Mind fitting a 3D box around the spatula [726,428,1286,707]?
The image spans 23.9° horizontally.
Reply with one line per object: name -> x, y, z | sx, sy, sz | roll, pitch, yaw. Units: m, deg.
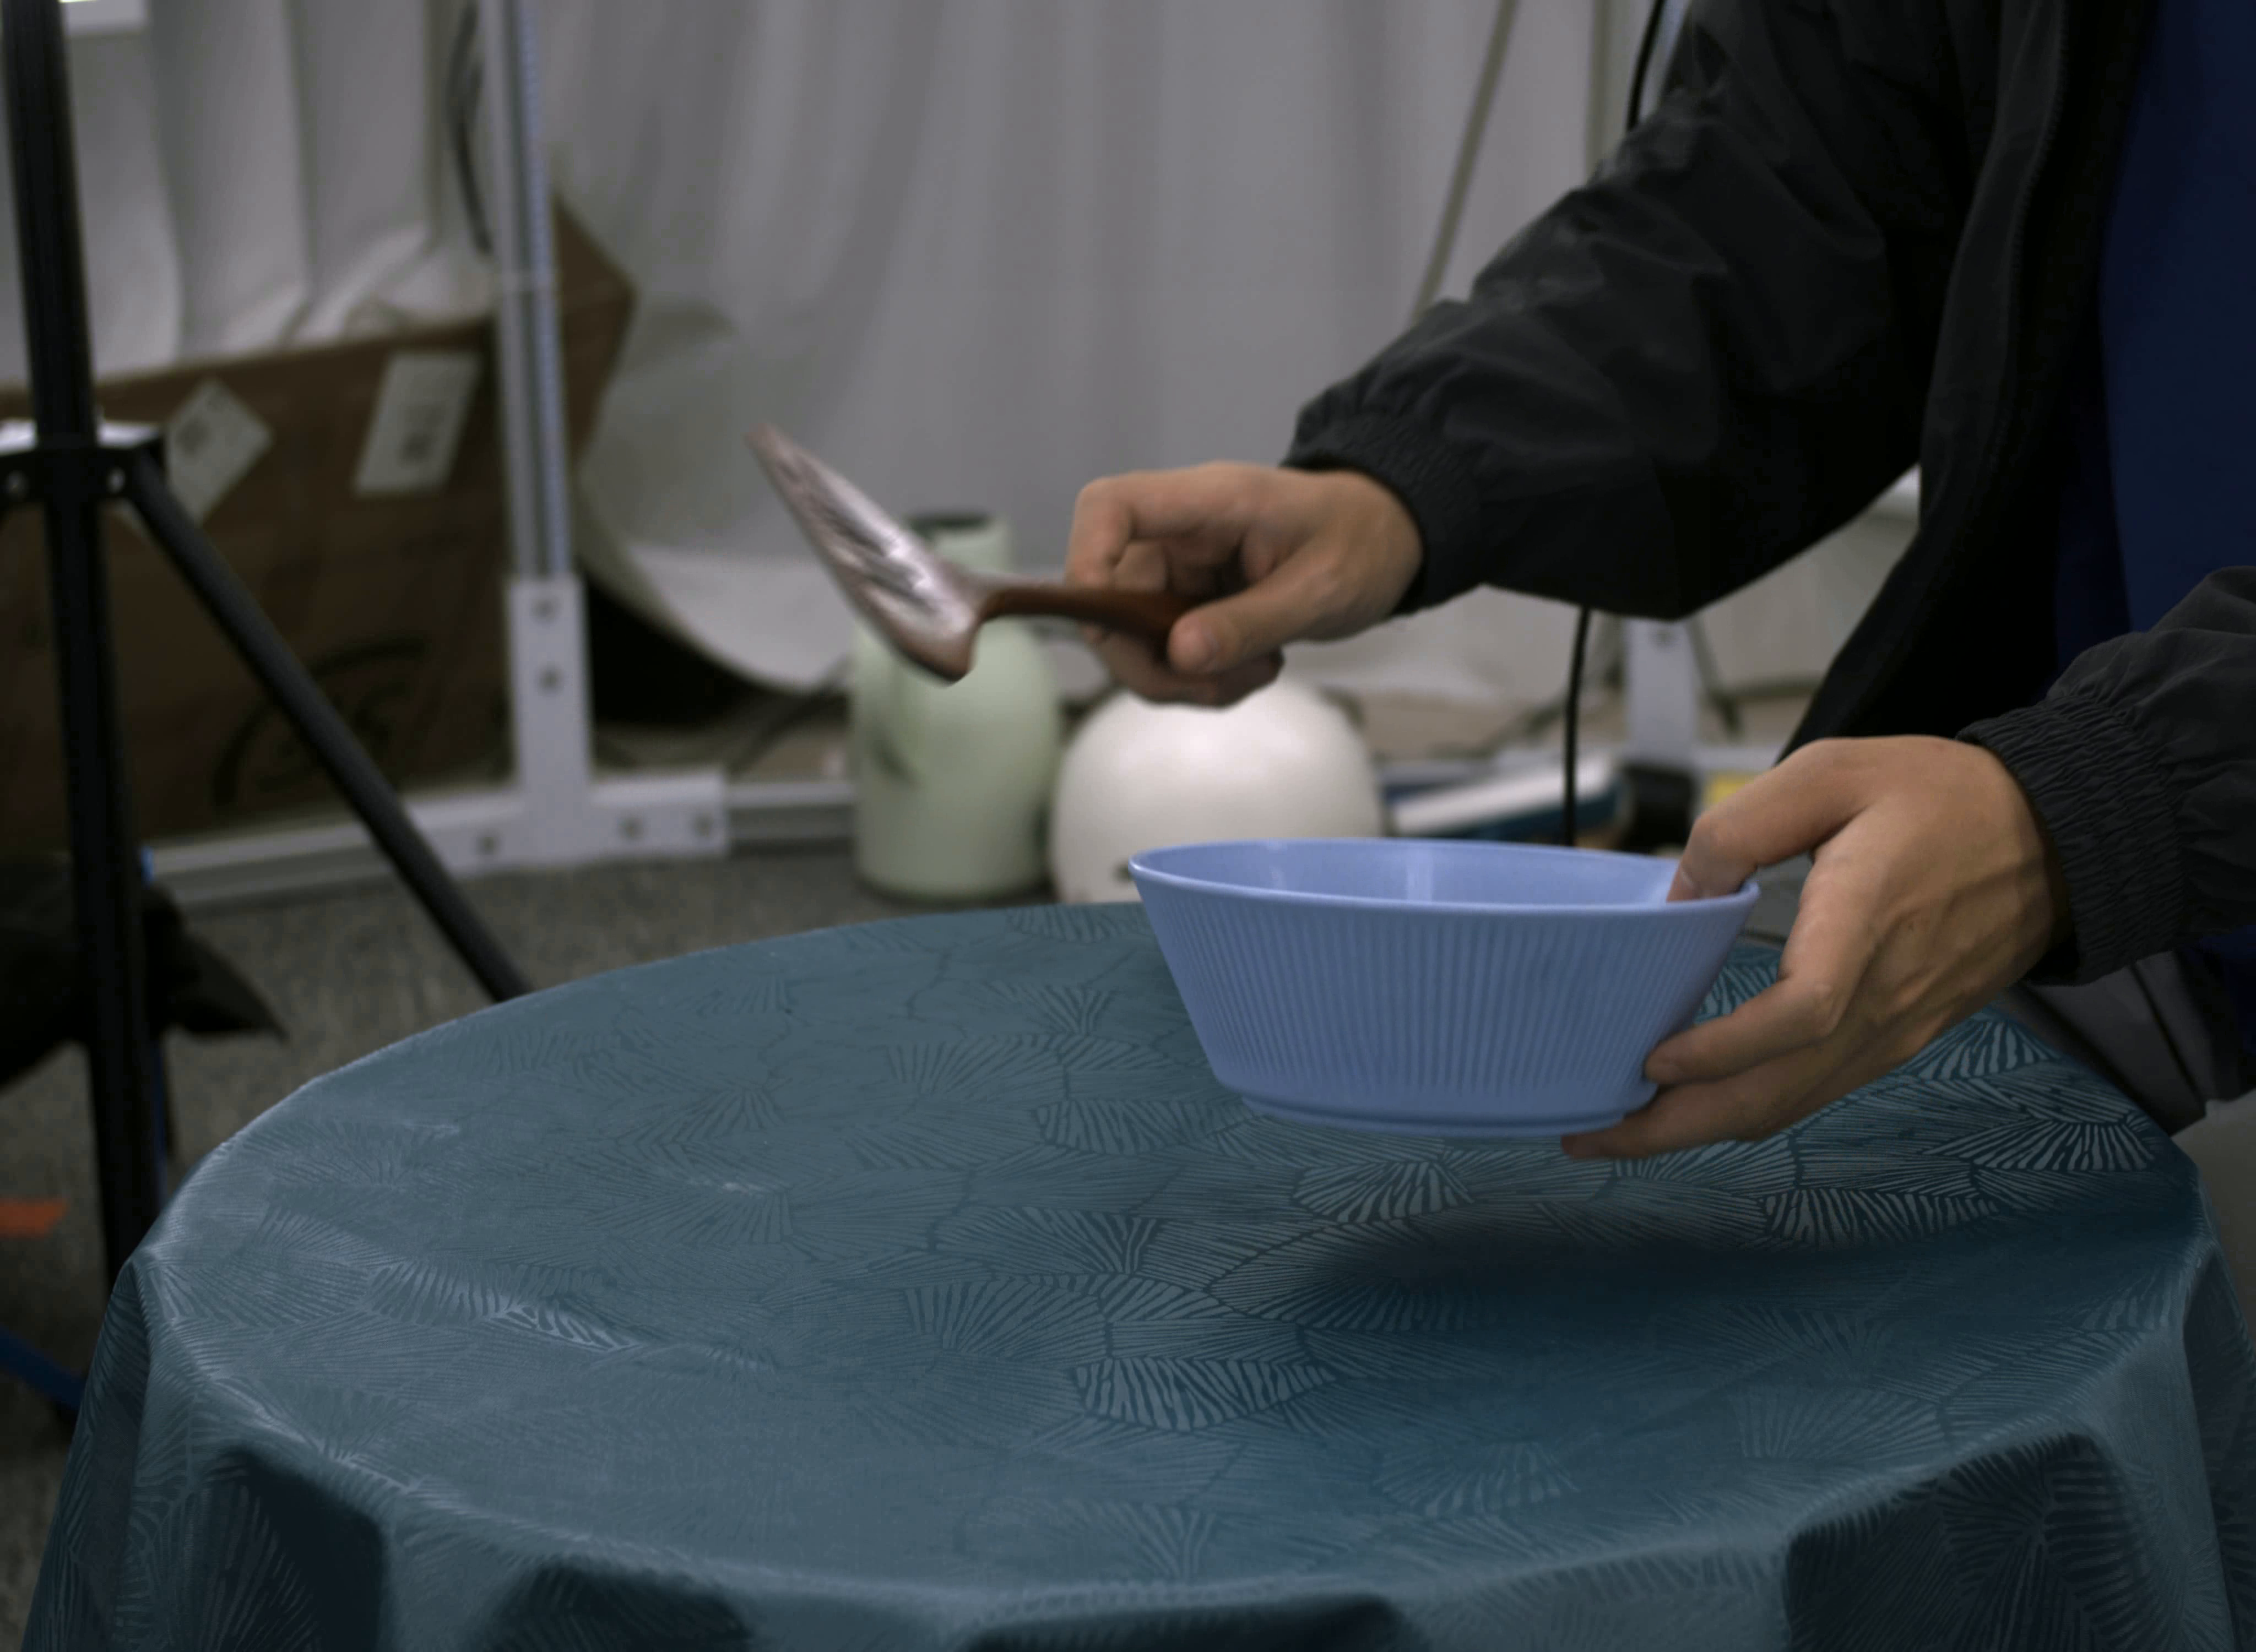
spatula -> -0.028, -0.065, 1.688 | 0.024, 0.087, 0.379 | -41, -19, 16

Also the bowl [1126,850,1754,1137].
bowl -> 0.085, 0.046, 1.477 | 0.175, 0.070, 0.176 | 3, 4, -2
